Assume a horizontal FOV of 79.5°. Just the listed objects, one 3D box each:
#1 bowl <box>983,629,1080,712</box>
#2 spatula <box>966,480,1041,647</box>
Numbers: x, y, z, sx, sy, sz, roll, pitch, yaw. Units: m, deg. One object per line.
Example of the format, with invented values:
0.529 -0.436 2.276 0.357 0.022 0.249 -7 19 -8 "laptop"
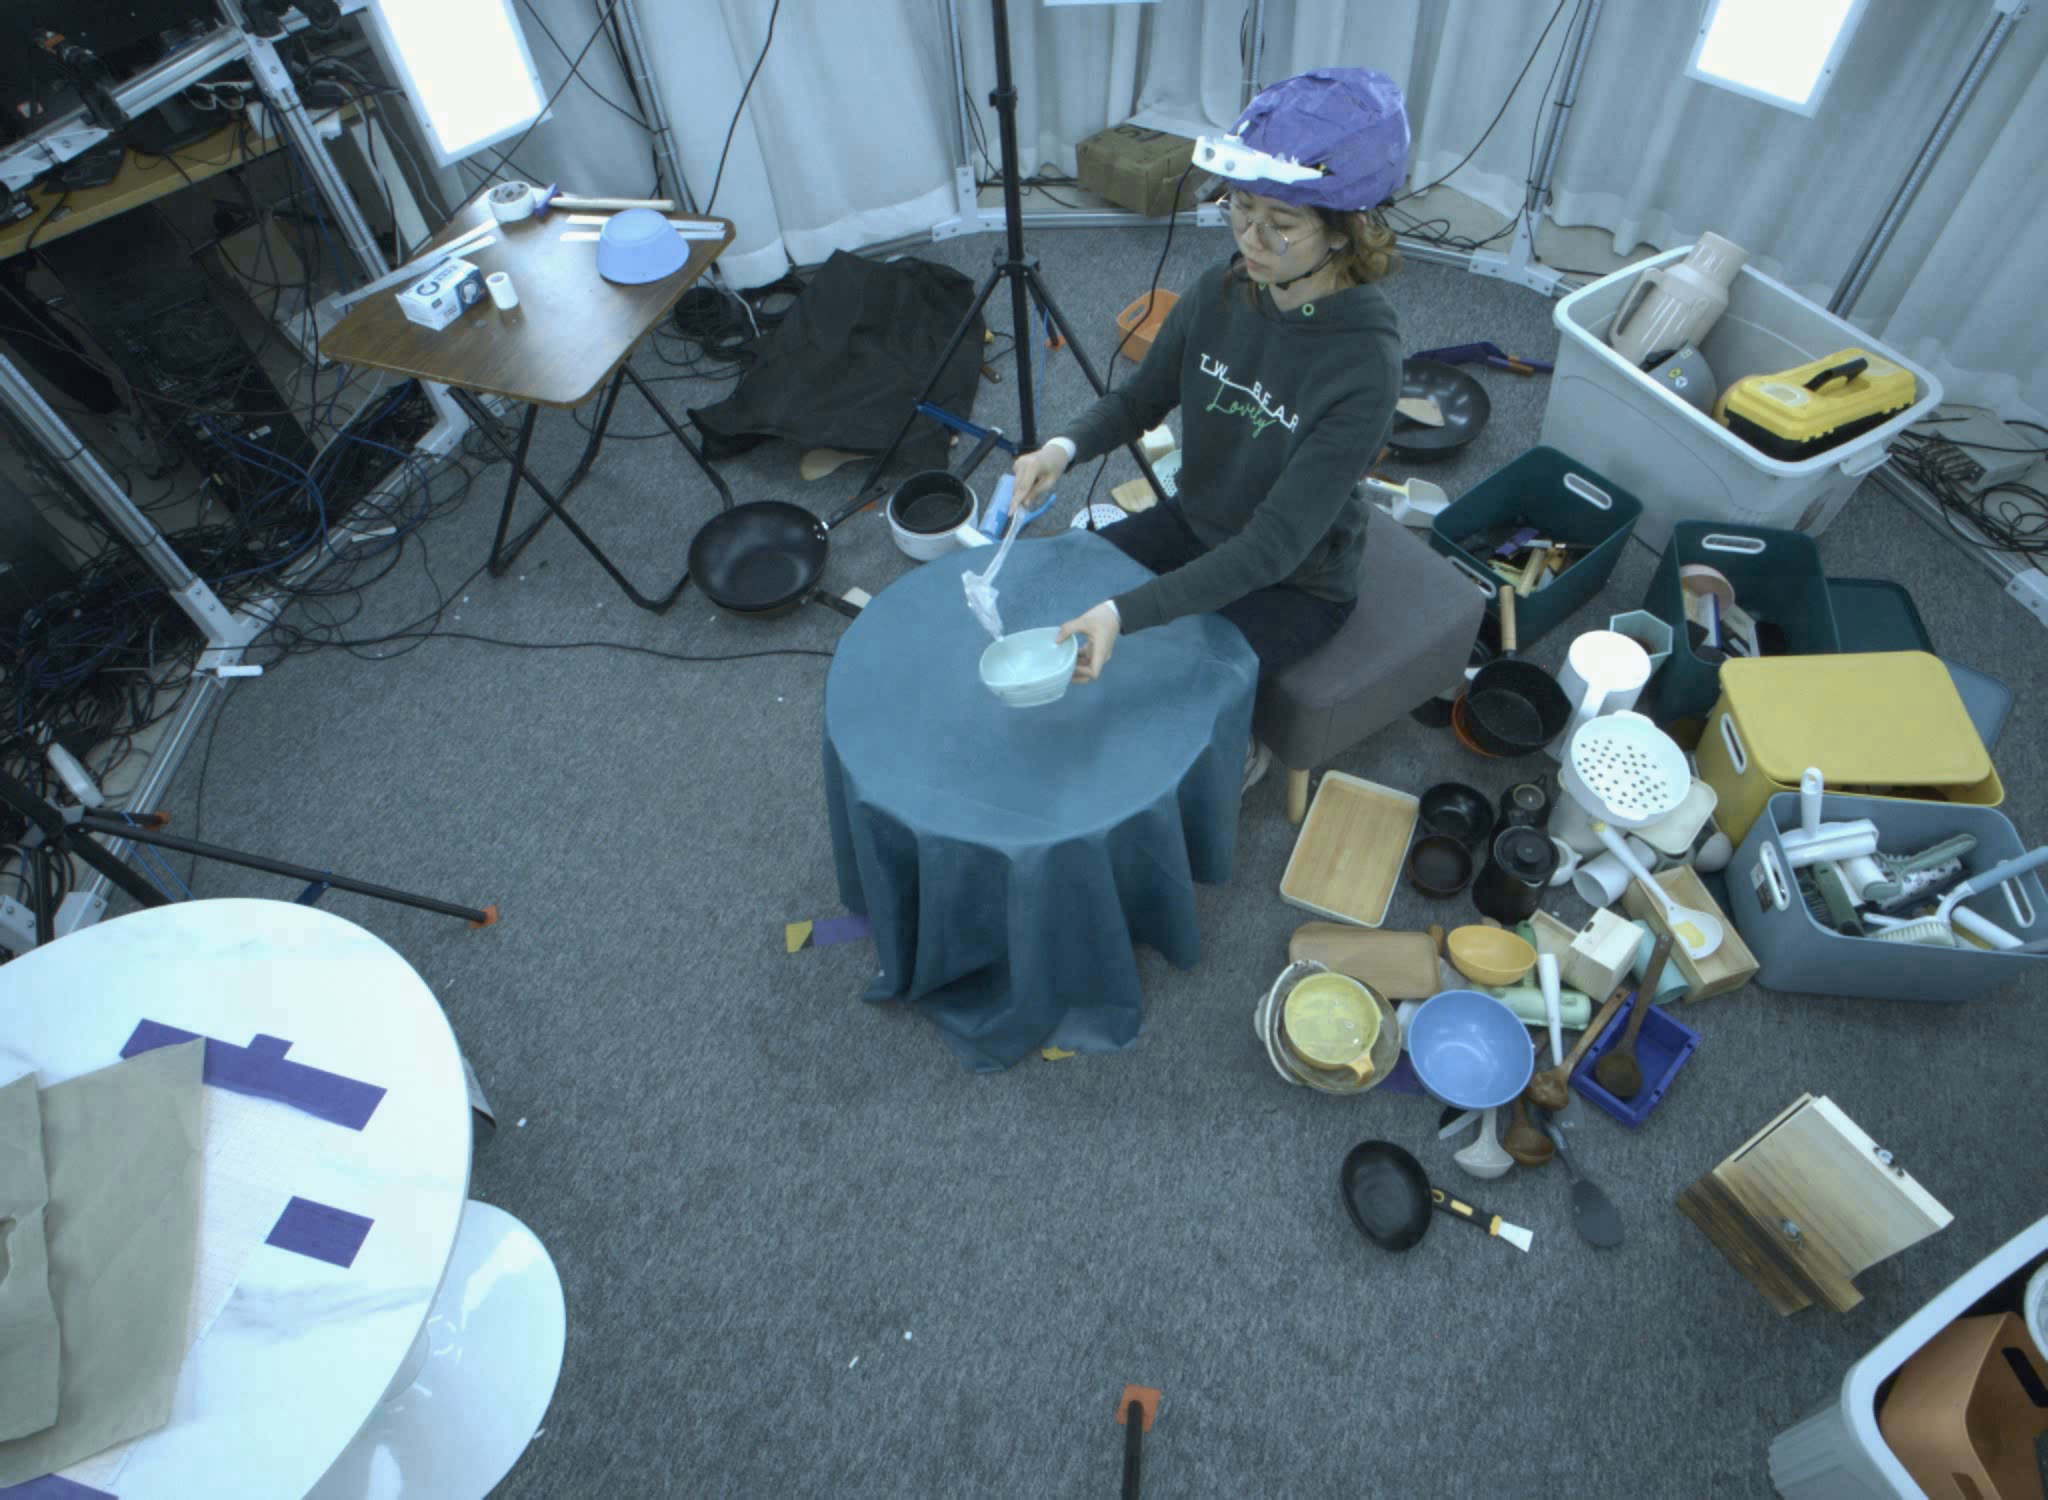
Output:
0.016 -0.104 1.721 0.150 0.059 0.150 -10 39 9 "bowl"
-0.018 -0.293 1.778 0.044 0.101 0.364 -12 42 35 "spatula"
